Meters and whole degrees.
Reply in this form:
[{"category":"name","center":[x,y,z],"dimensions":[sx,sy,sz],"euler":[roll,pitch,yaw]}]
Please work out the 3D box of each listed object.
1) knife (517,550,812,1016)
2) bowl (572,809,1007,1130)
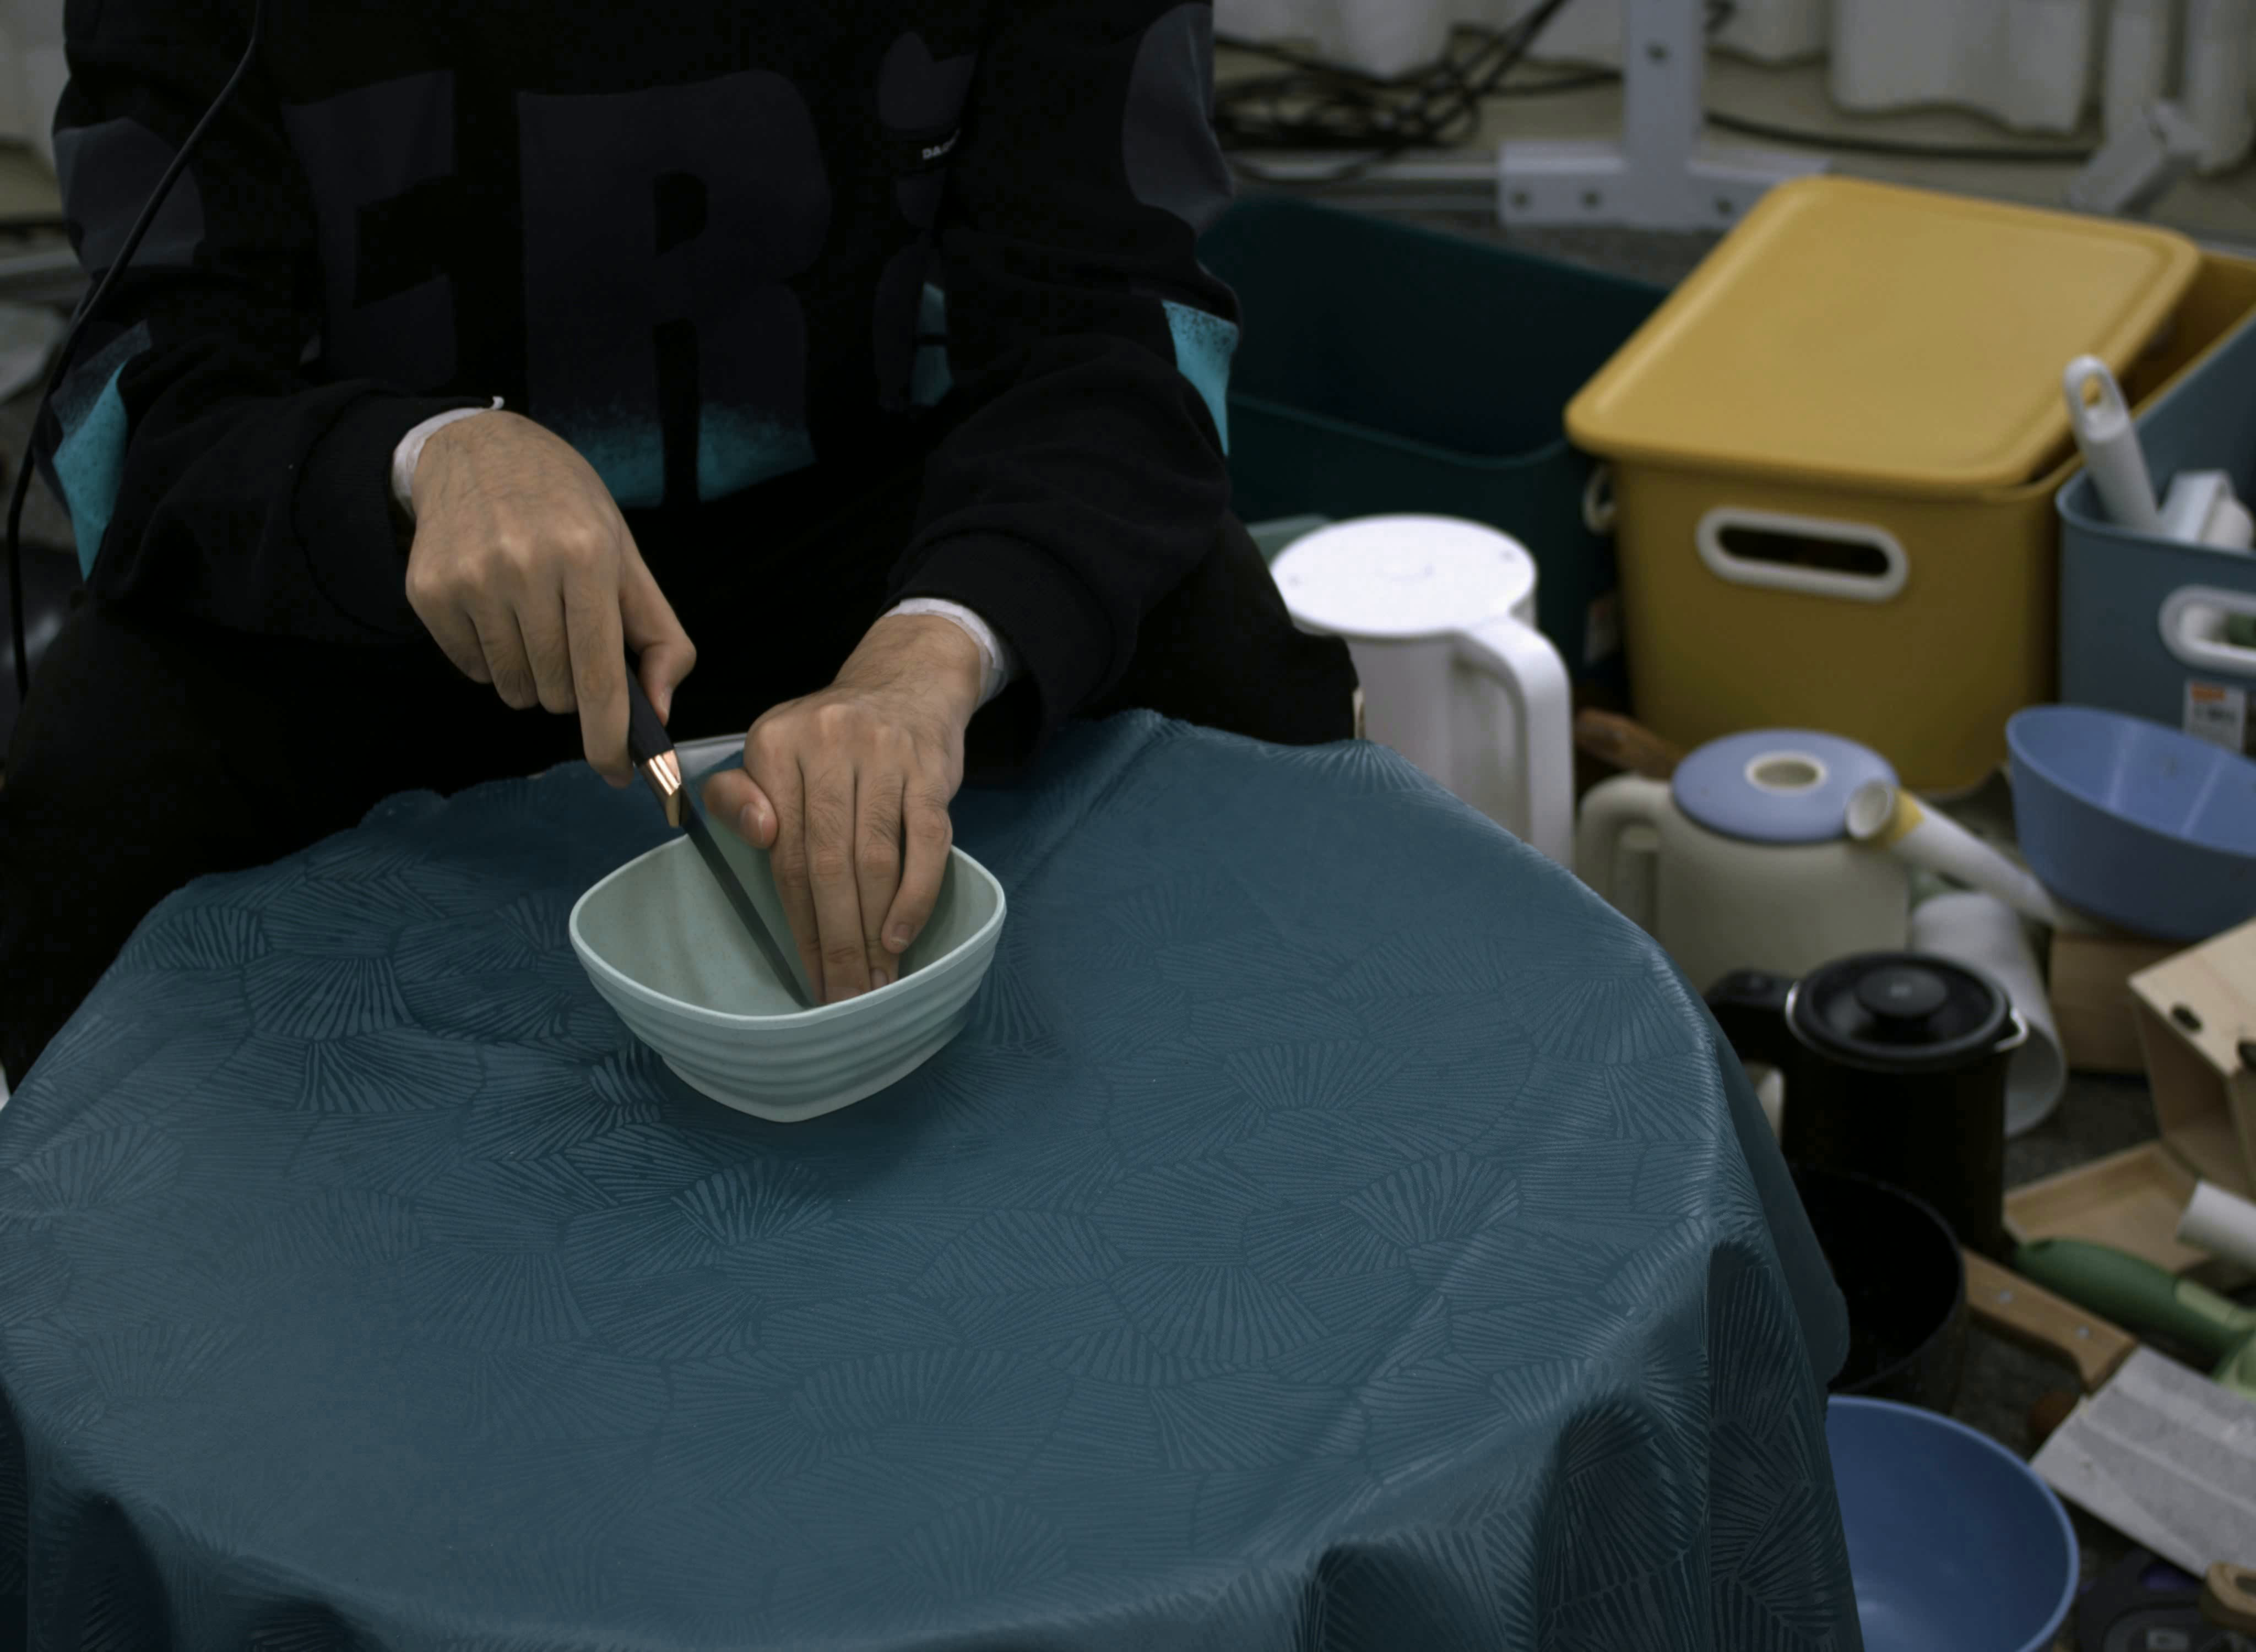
[{"category":"knife","center":[-0.155,-0.005,1.959],"dimensions":[0.017,0.026,0.227],"euler":[-23,66,-24]},{"category":"bowl","center":[-0.114,0.055,1.943],"dimensions":[0.150,0.058,0.154],"euler":[-3,28,2]}]
